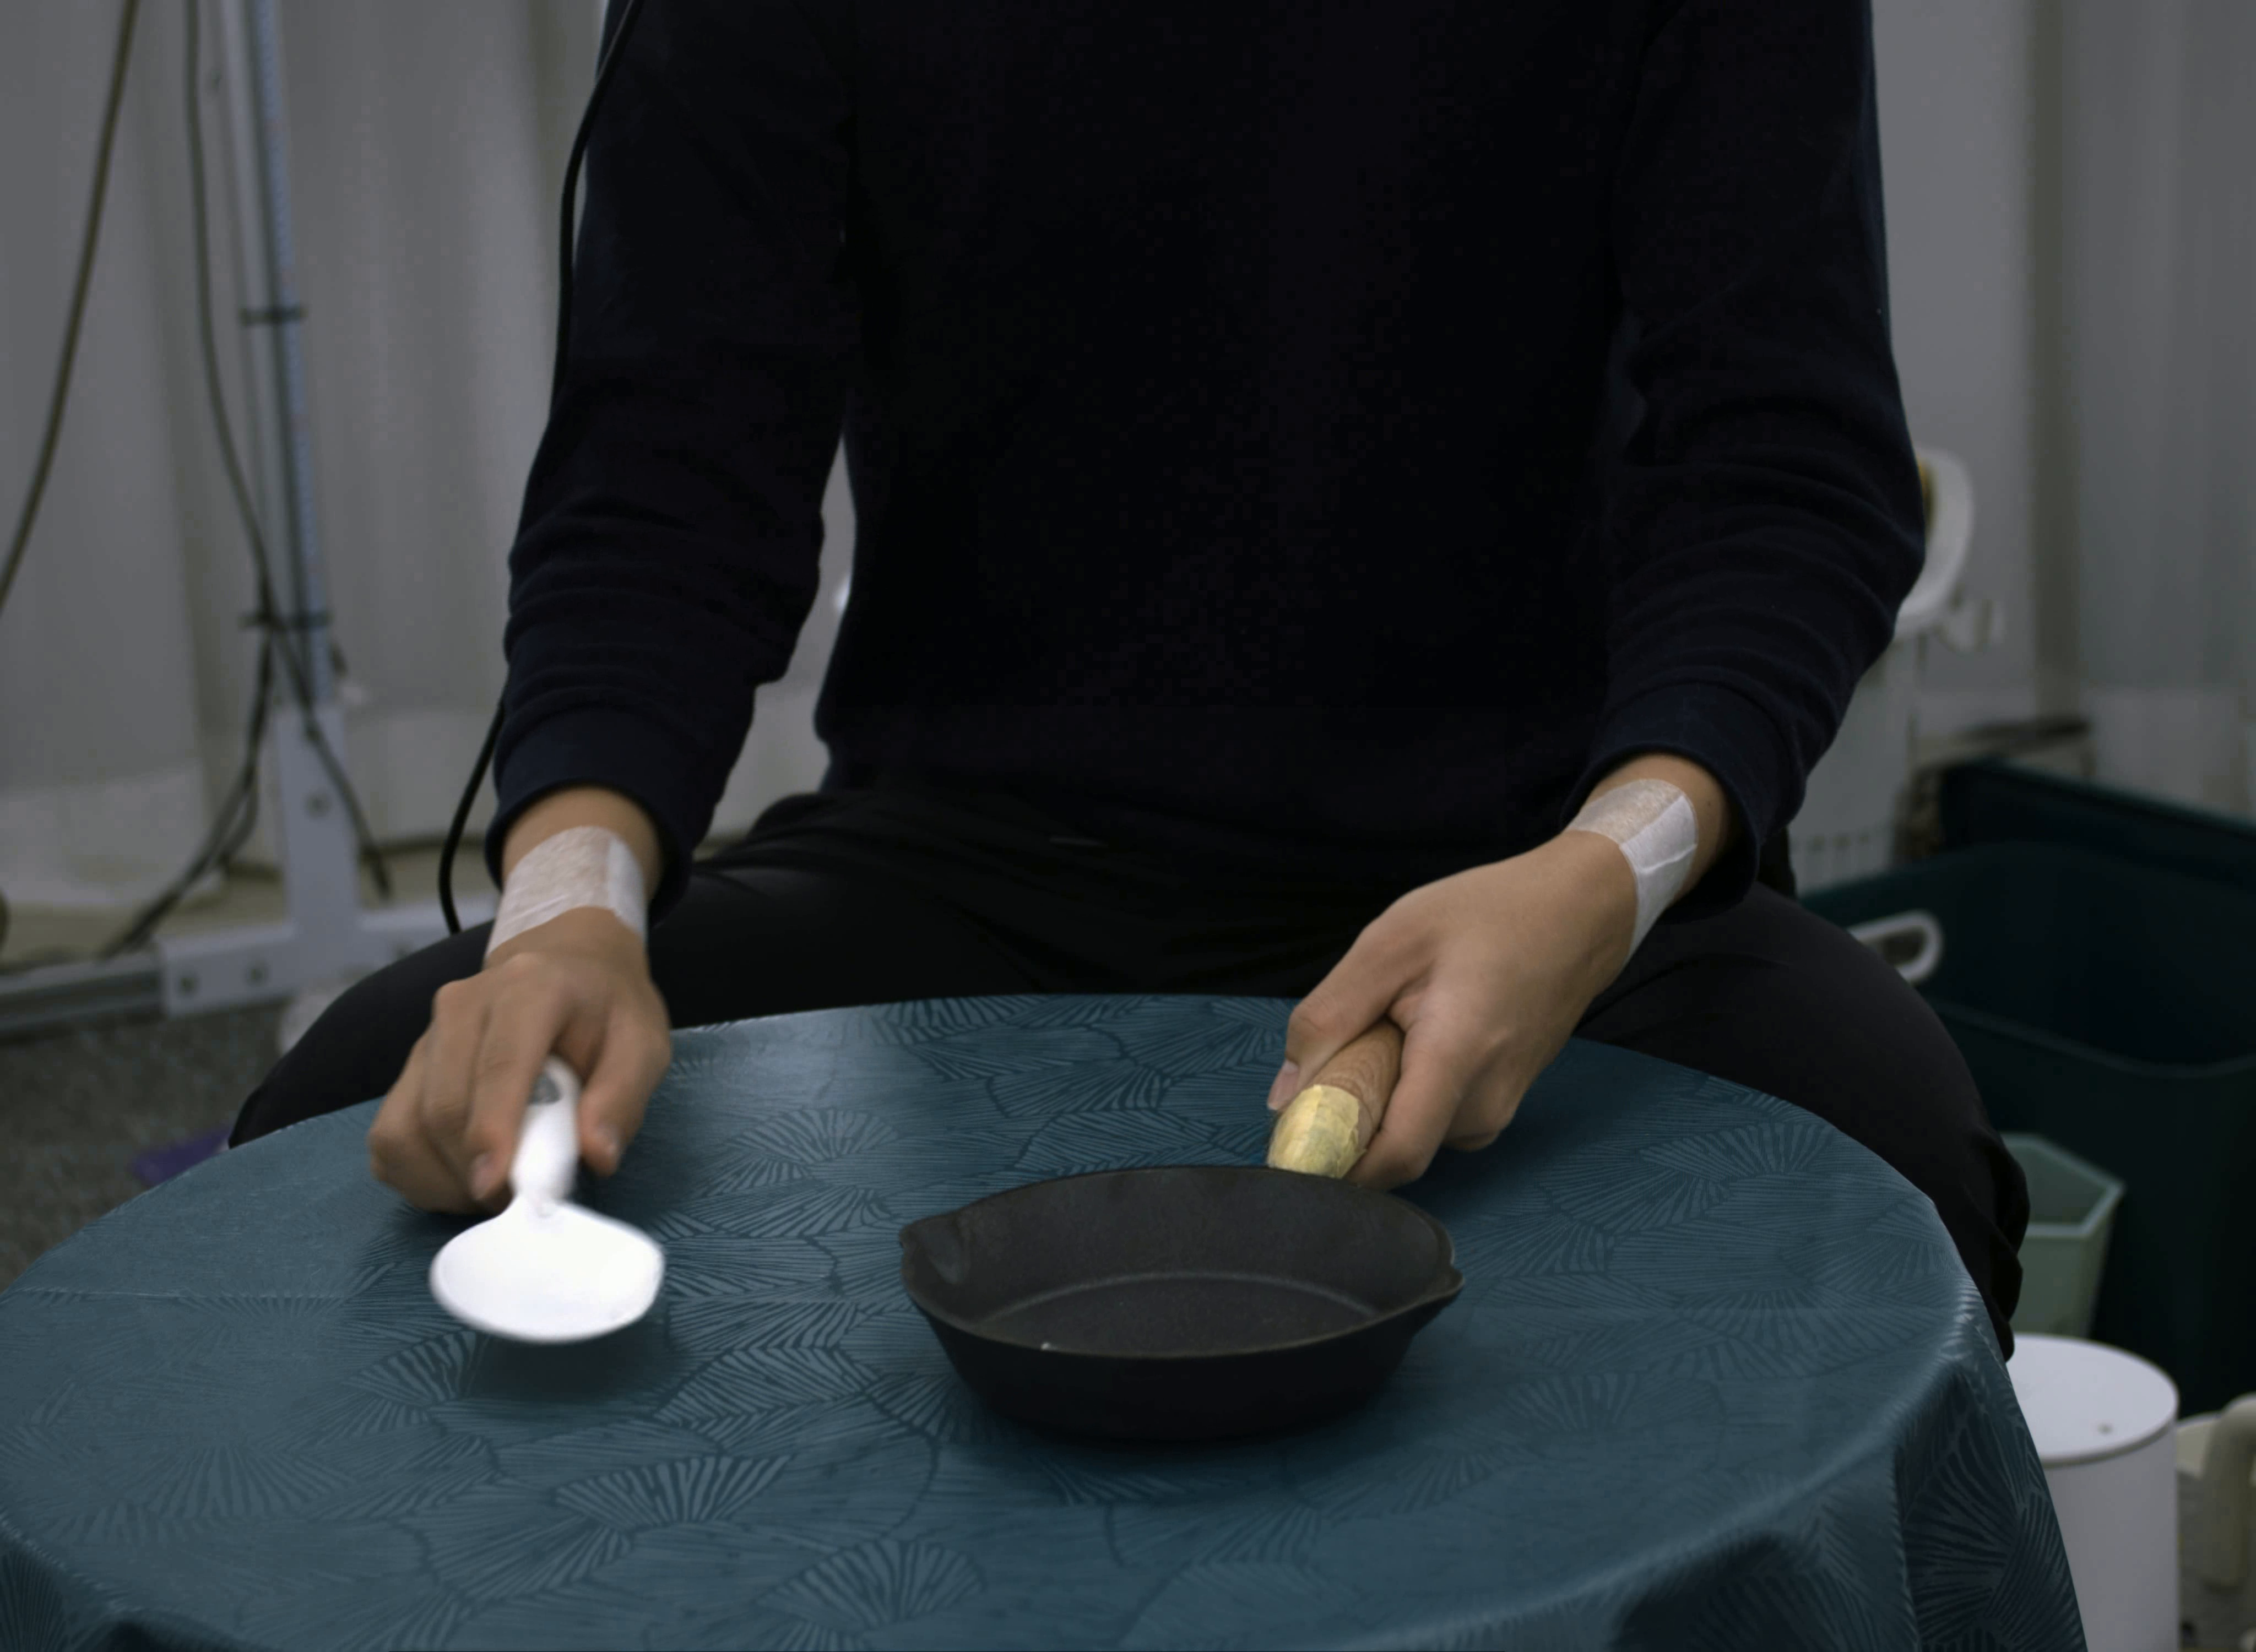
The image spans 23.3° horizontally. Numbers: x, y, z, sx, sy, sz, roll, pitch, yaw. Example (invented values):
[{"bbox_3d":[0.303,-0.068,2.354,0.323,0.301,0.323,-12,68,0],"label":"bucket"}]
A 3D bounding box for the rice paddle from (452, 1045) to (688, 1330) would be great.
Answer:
[{"bbox_3d":[-0.172,0.111,1.649,0.068,0.029,0.207,-3,16,-9],"label":"rice paddle"}]

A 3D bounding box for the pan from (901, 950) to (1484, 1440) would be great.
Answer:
[{"bbox_3d":[0.048,0.106,1.623,0.169,0.049,0.325,5,18,23],"label":"pan"}]
